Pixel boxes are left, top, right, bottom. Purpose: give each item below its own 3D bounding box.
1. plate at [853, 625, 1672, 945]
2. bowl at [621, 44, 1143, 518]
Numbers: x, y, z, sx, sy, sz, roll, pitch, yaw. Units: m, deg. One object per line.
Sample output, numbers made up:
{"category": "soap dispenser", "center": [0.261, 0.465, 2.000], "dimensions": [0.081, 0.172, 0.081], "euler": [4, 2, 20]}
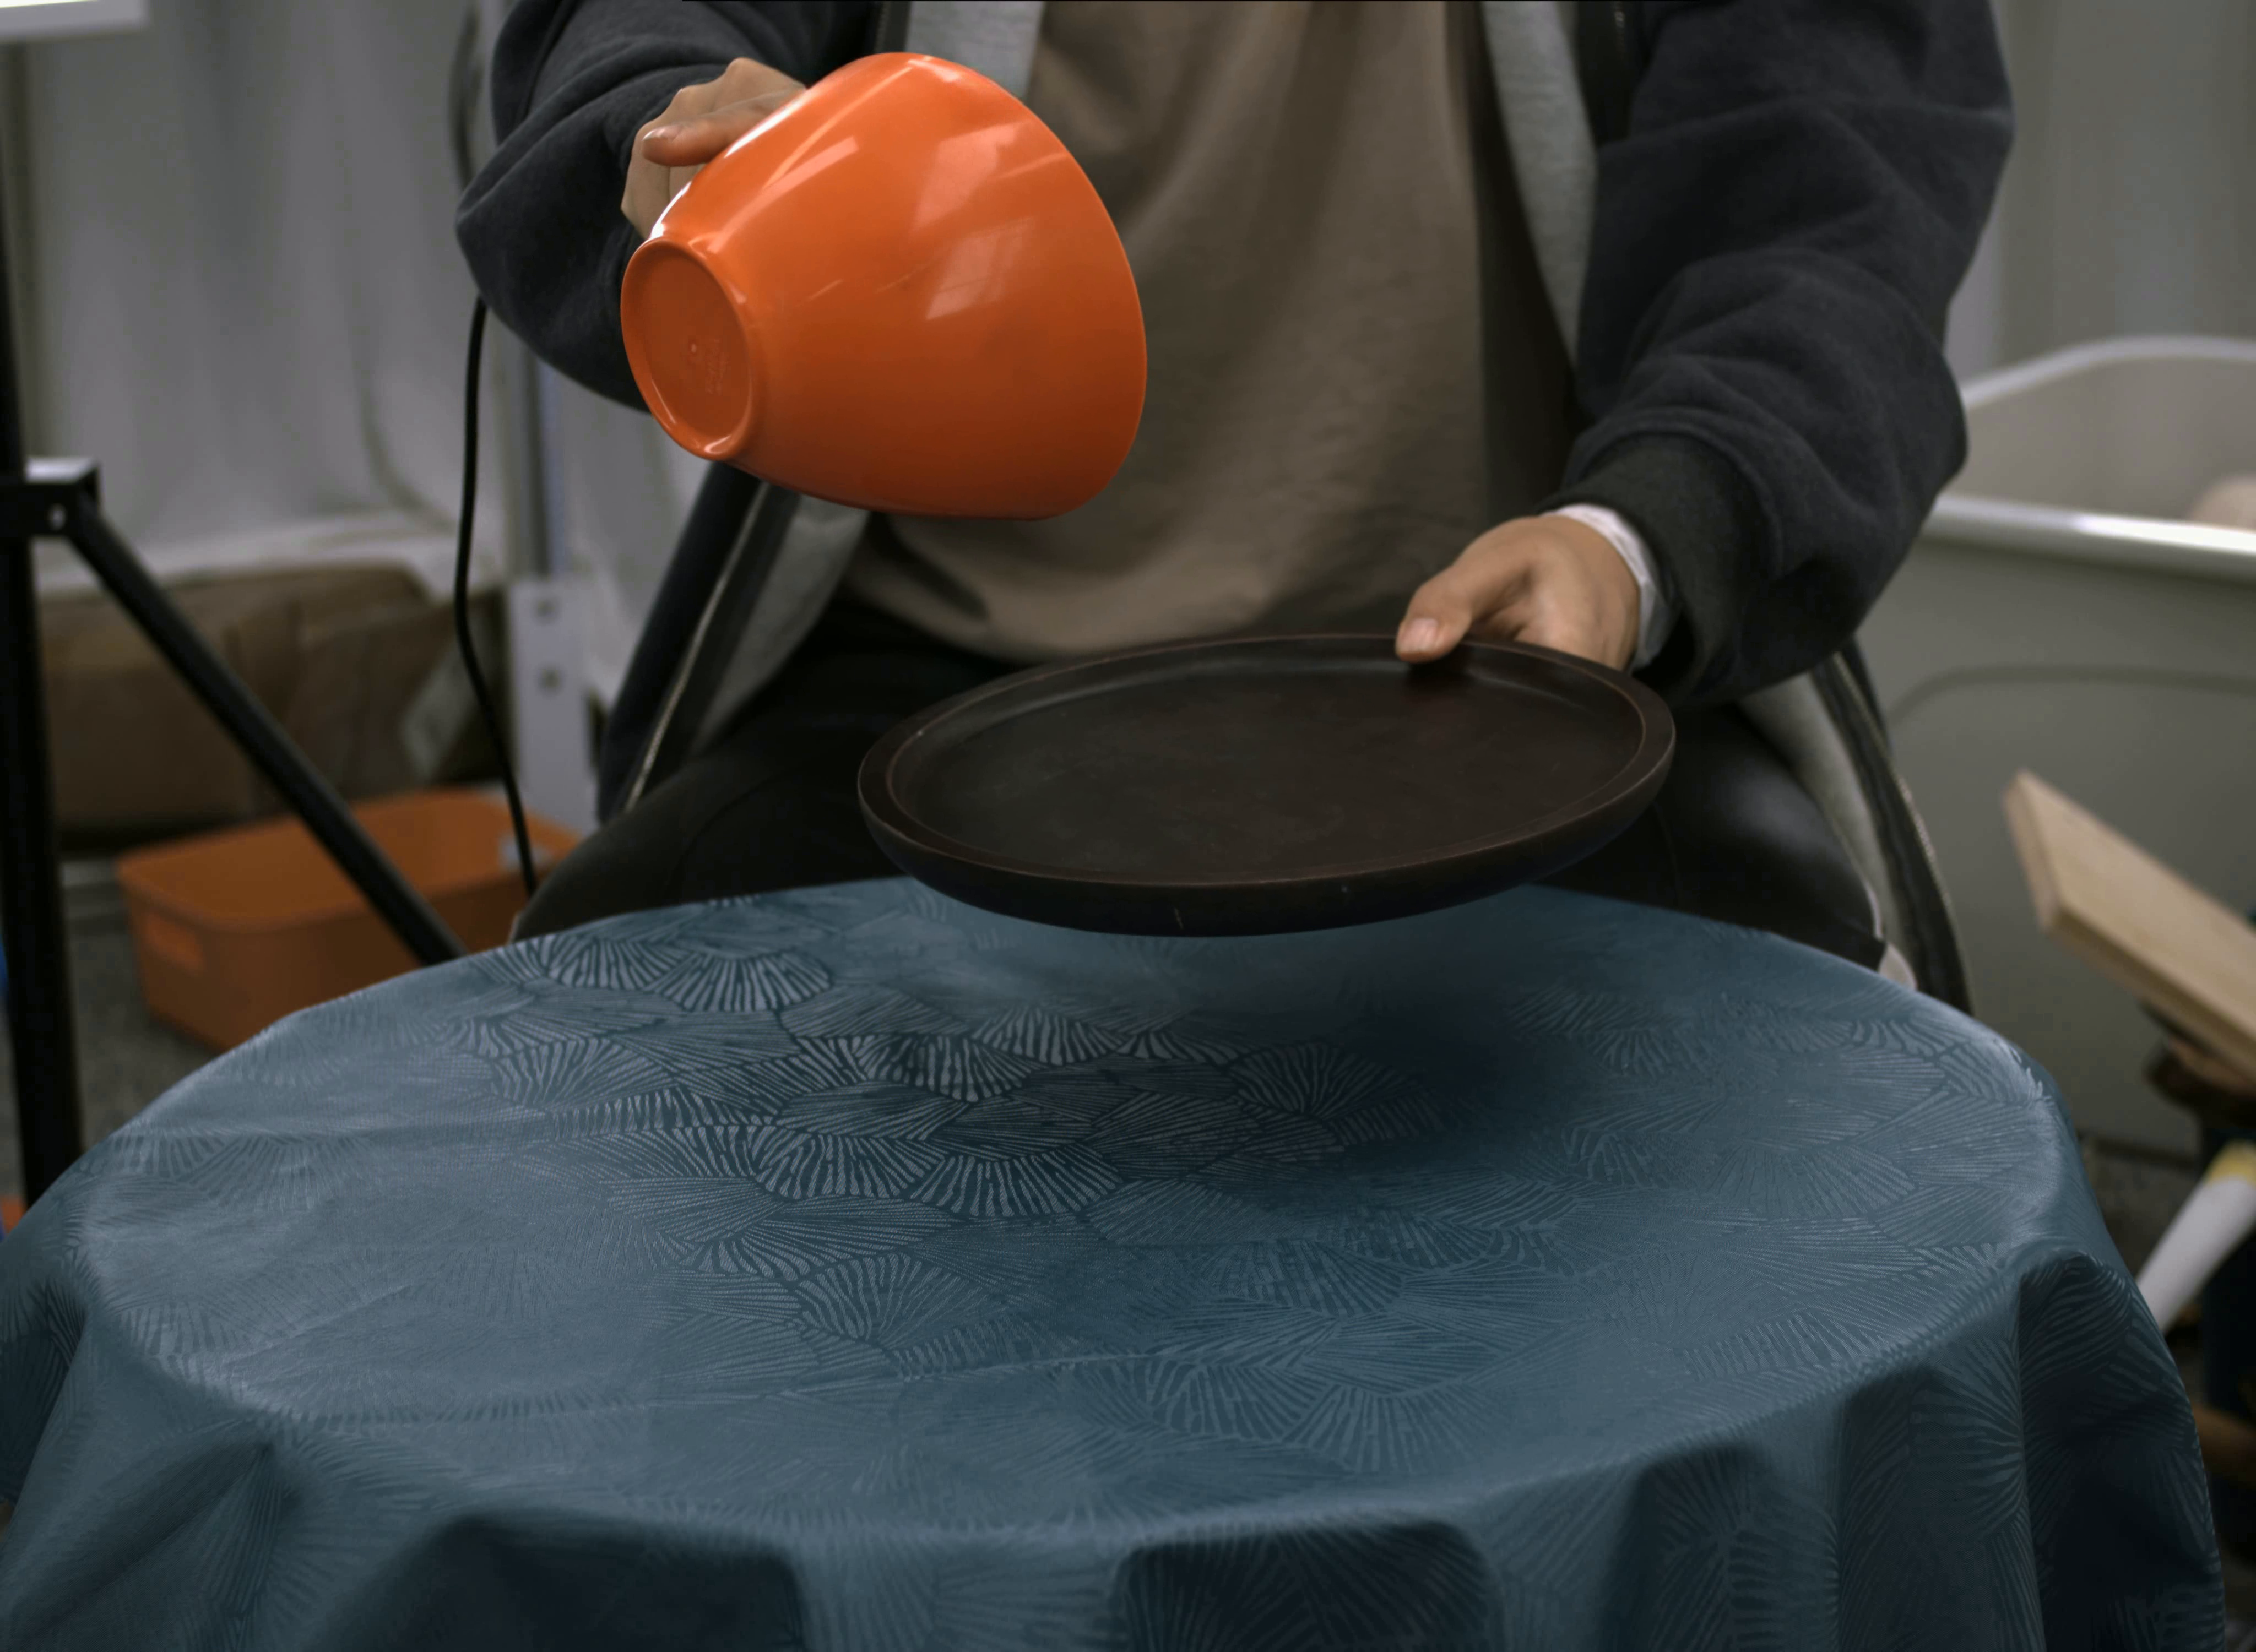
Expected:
{"category": "plate", "center": [0.042, -0.015, 1.640], "dimensions": [0.254, 0.029, 0.256], "euler": [-6, 18, 1]}
{"category": "bowl", "center": [-0.082, -0.148, 1.567], "dimensions": [0.102, 0.147, 0.151], "euler": [-22, 24, -32]}
